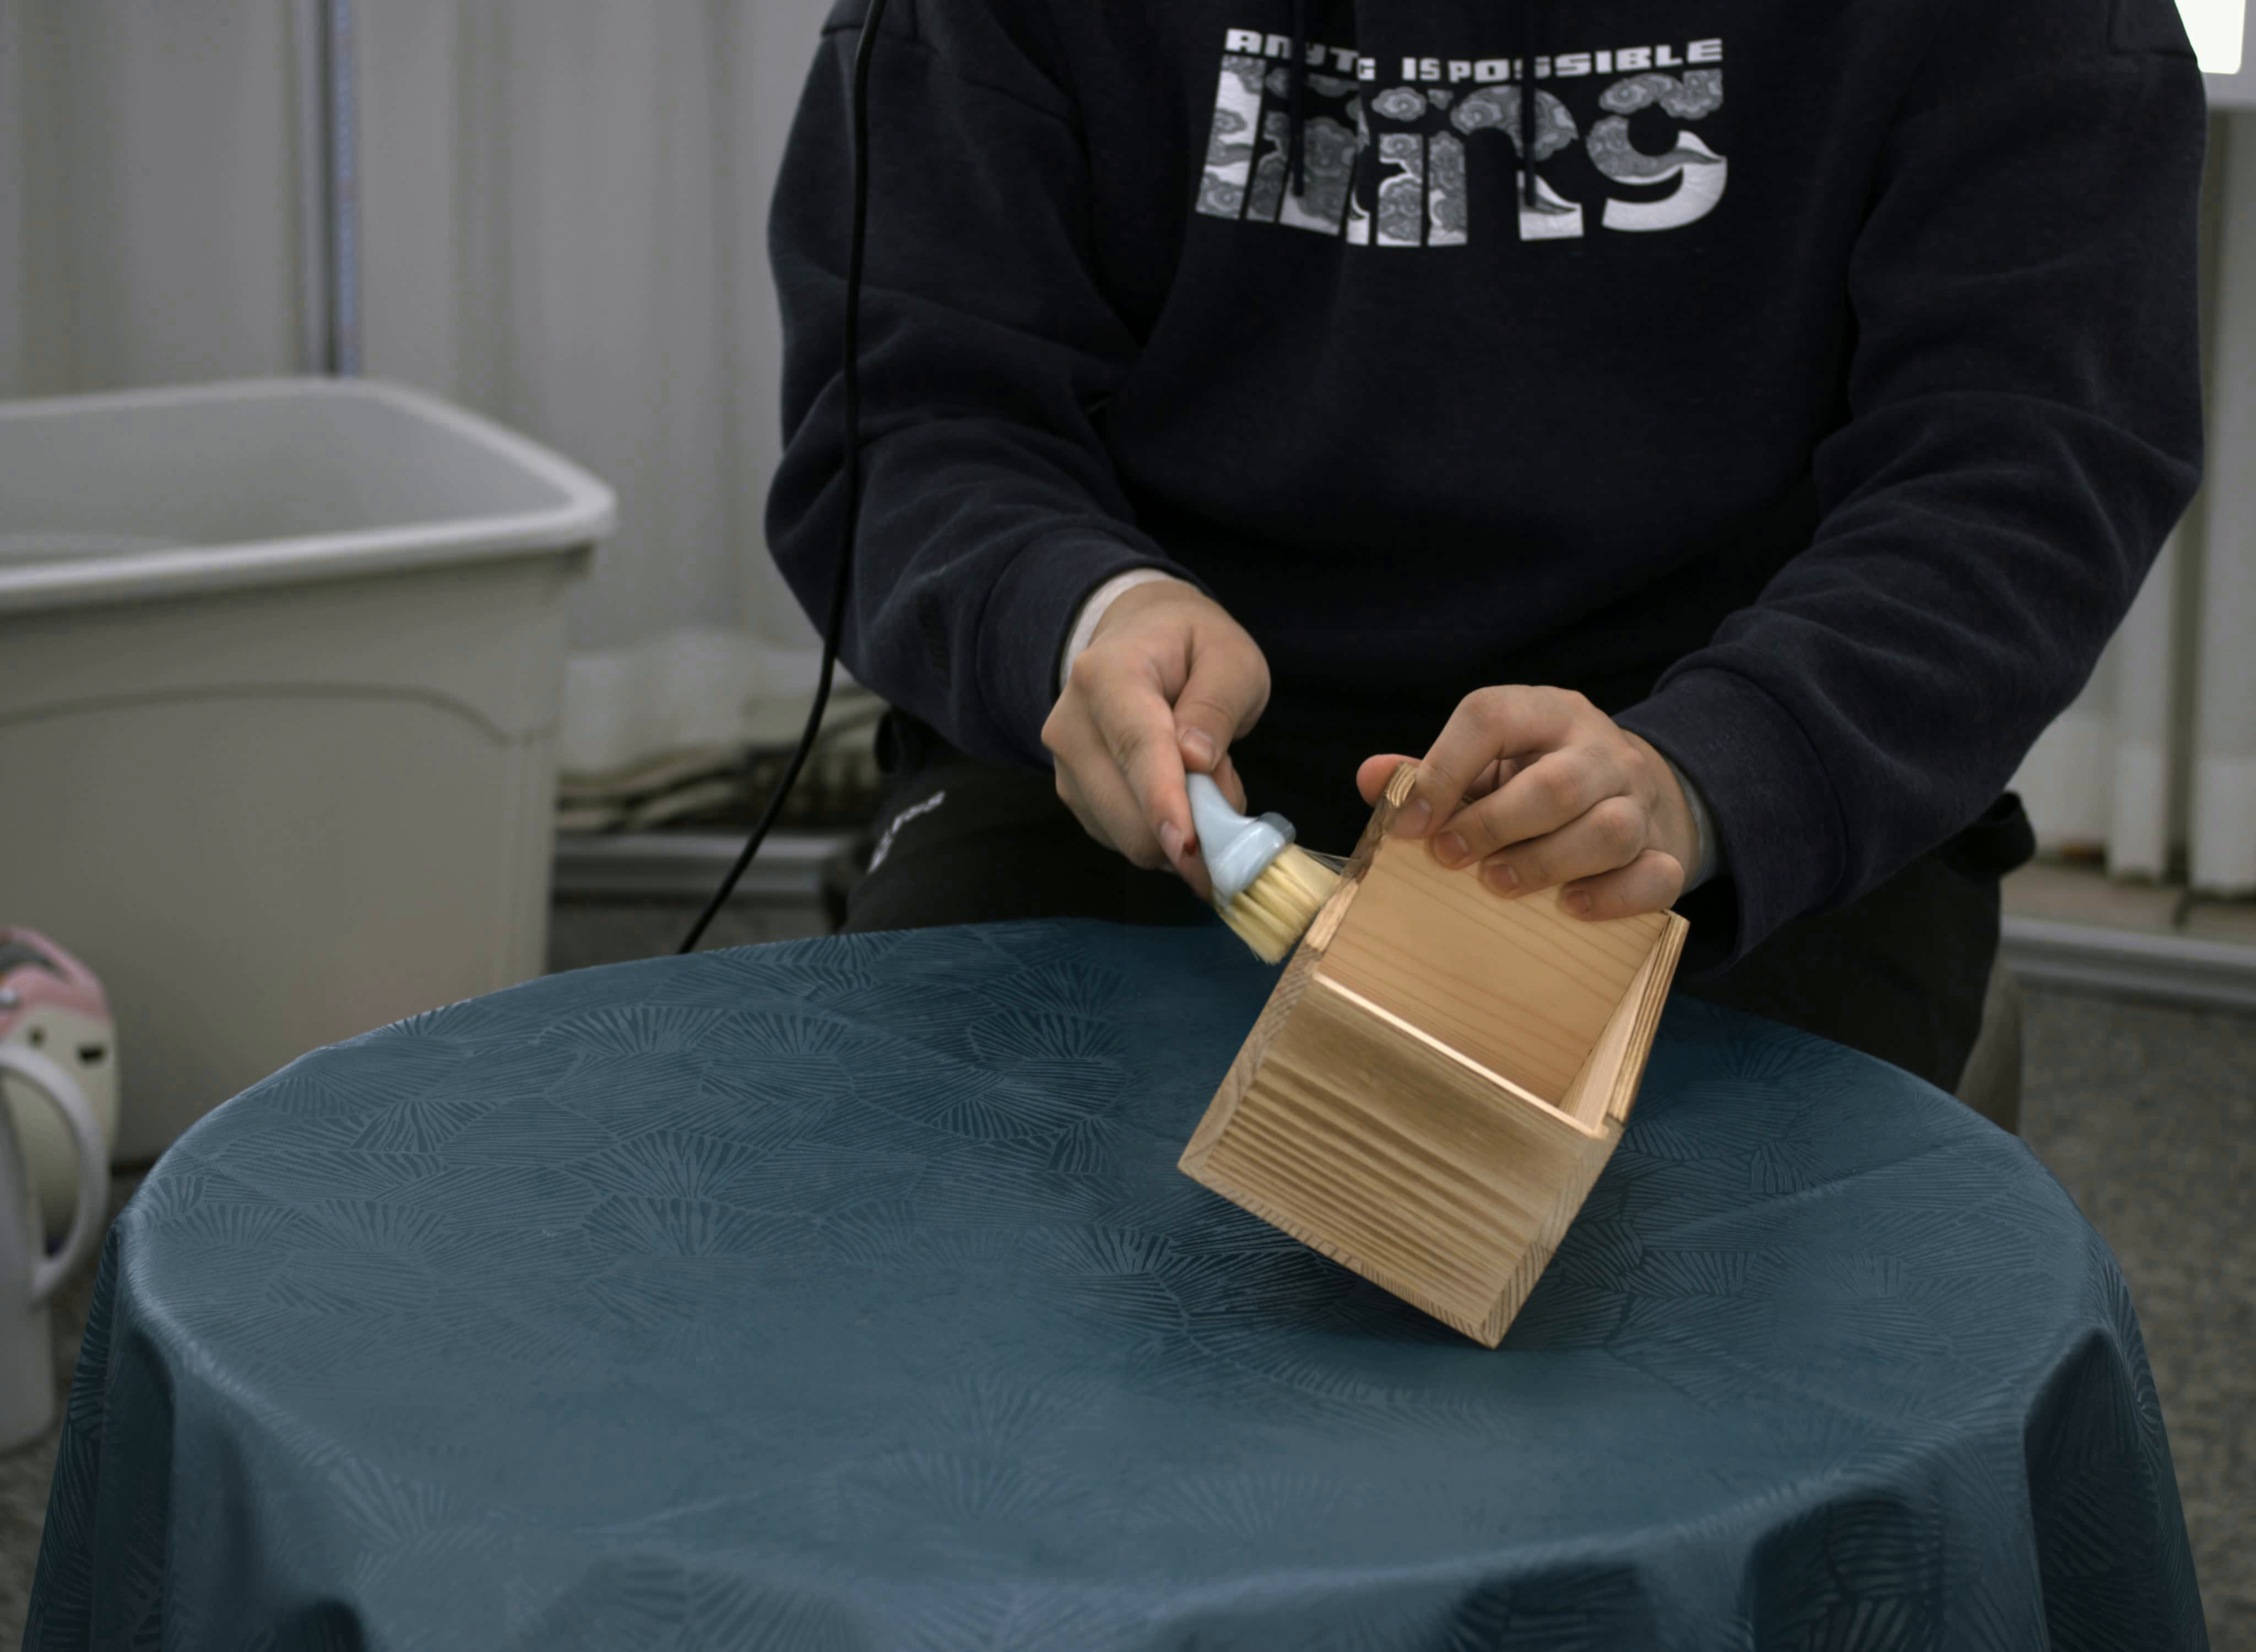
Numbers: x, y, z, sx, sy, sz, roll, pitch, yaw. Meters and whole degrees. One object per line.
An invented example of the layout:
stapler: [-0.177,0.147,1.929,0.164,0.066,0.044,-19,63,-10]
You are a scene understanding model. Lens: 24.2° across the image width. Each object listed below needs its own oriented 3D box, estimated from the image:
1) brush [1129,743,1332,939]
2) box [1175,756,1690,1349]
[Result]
brush: [0.031,0.003,1.672,0.050,0.038,0.227,33,3,-11]
box: [0.096,0.063,1.586,0.107,0.080,0.211,30,19,1]
